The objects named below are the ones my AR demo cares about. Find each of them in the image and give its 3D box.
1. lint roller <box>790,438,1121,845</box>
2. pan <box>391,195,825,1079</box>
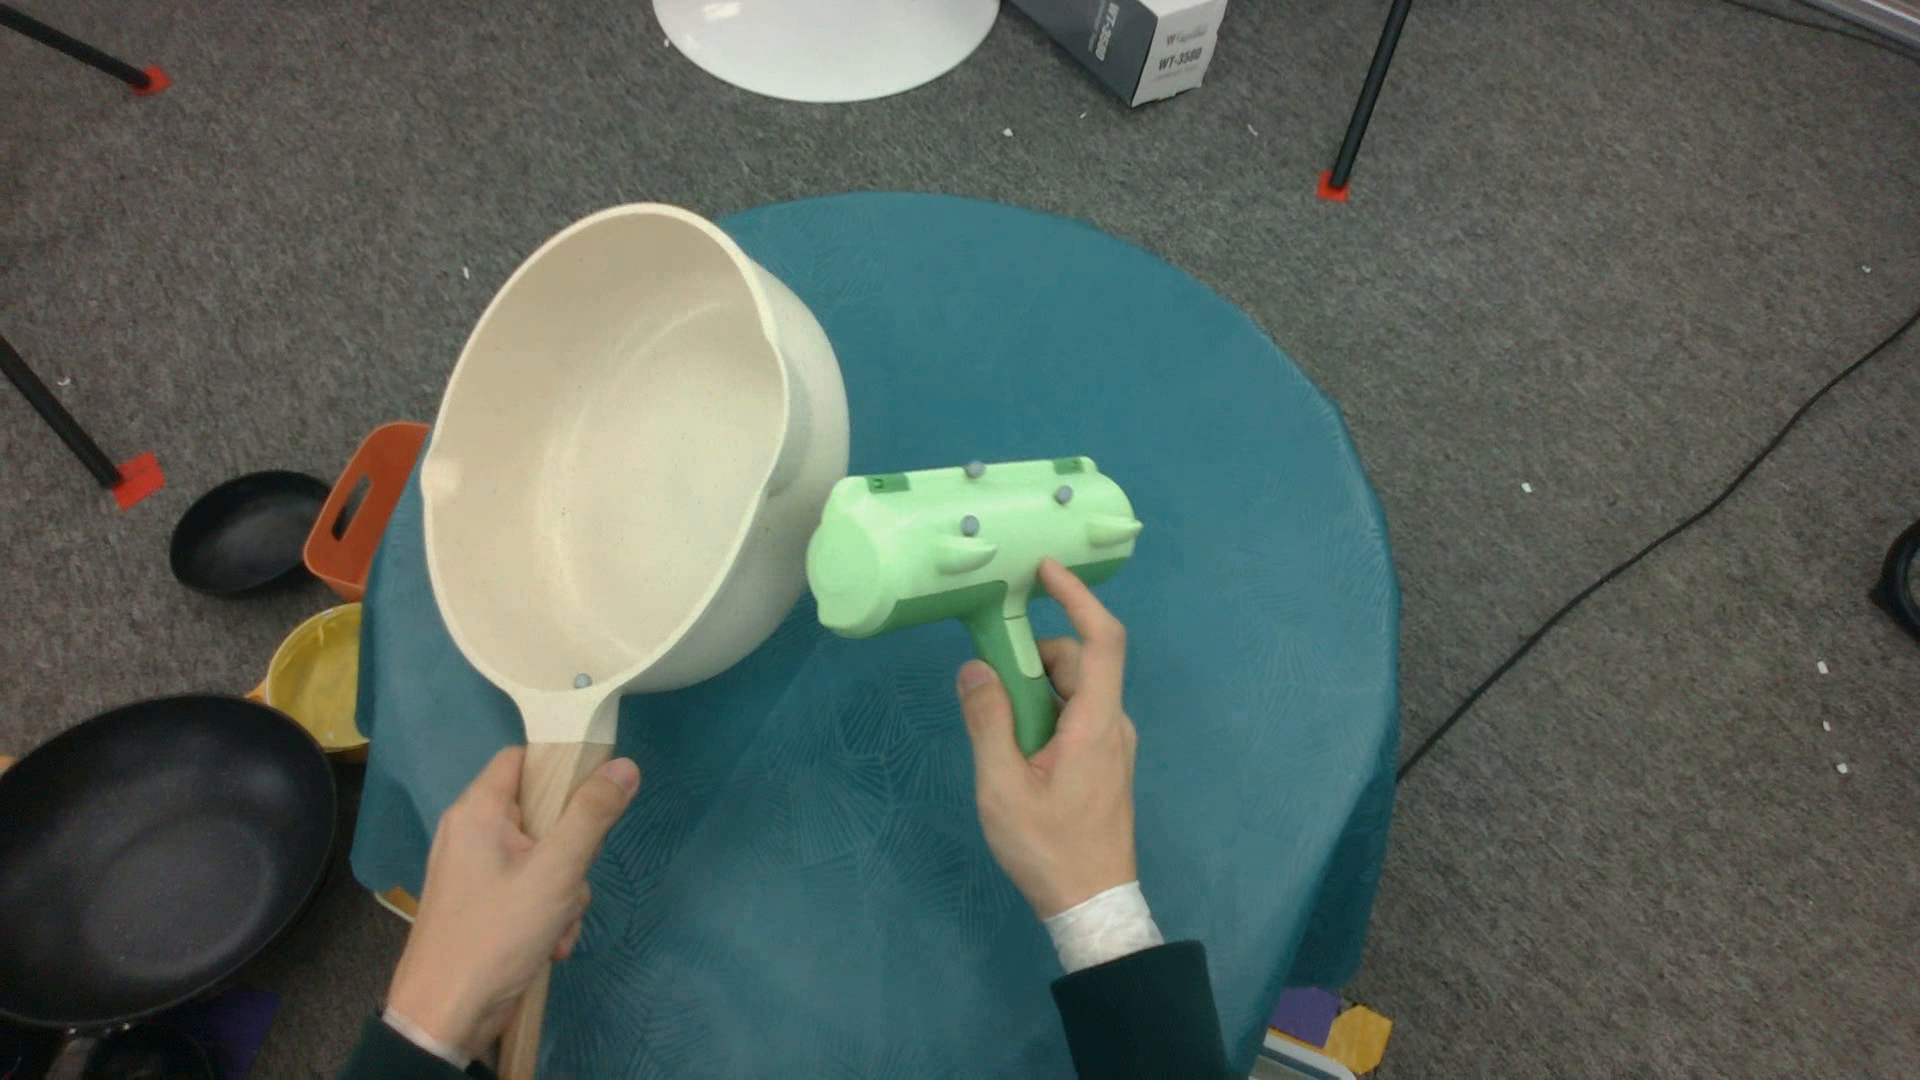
[{"bbox_3d":[0.028,0.043,0.626,0.199,0.082,0.183,-11,77,-54],"label":"lint roller"},{"bbox_3d":[-0.177,0.048,0.677,0.262,0.102,0.435,-8,76,32],"label":"pan"}]
